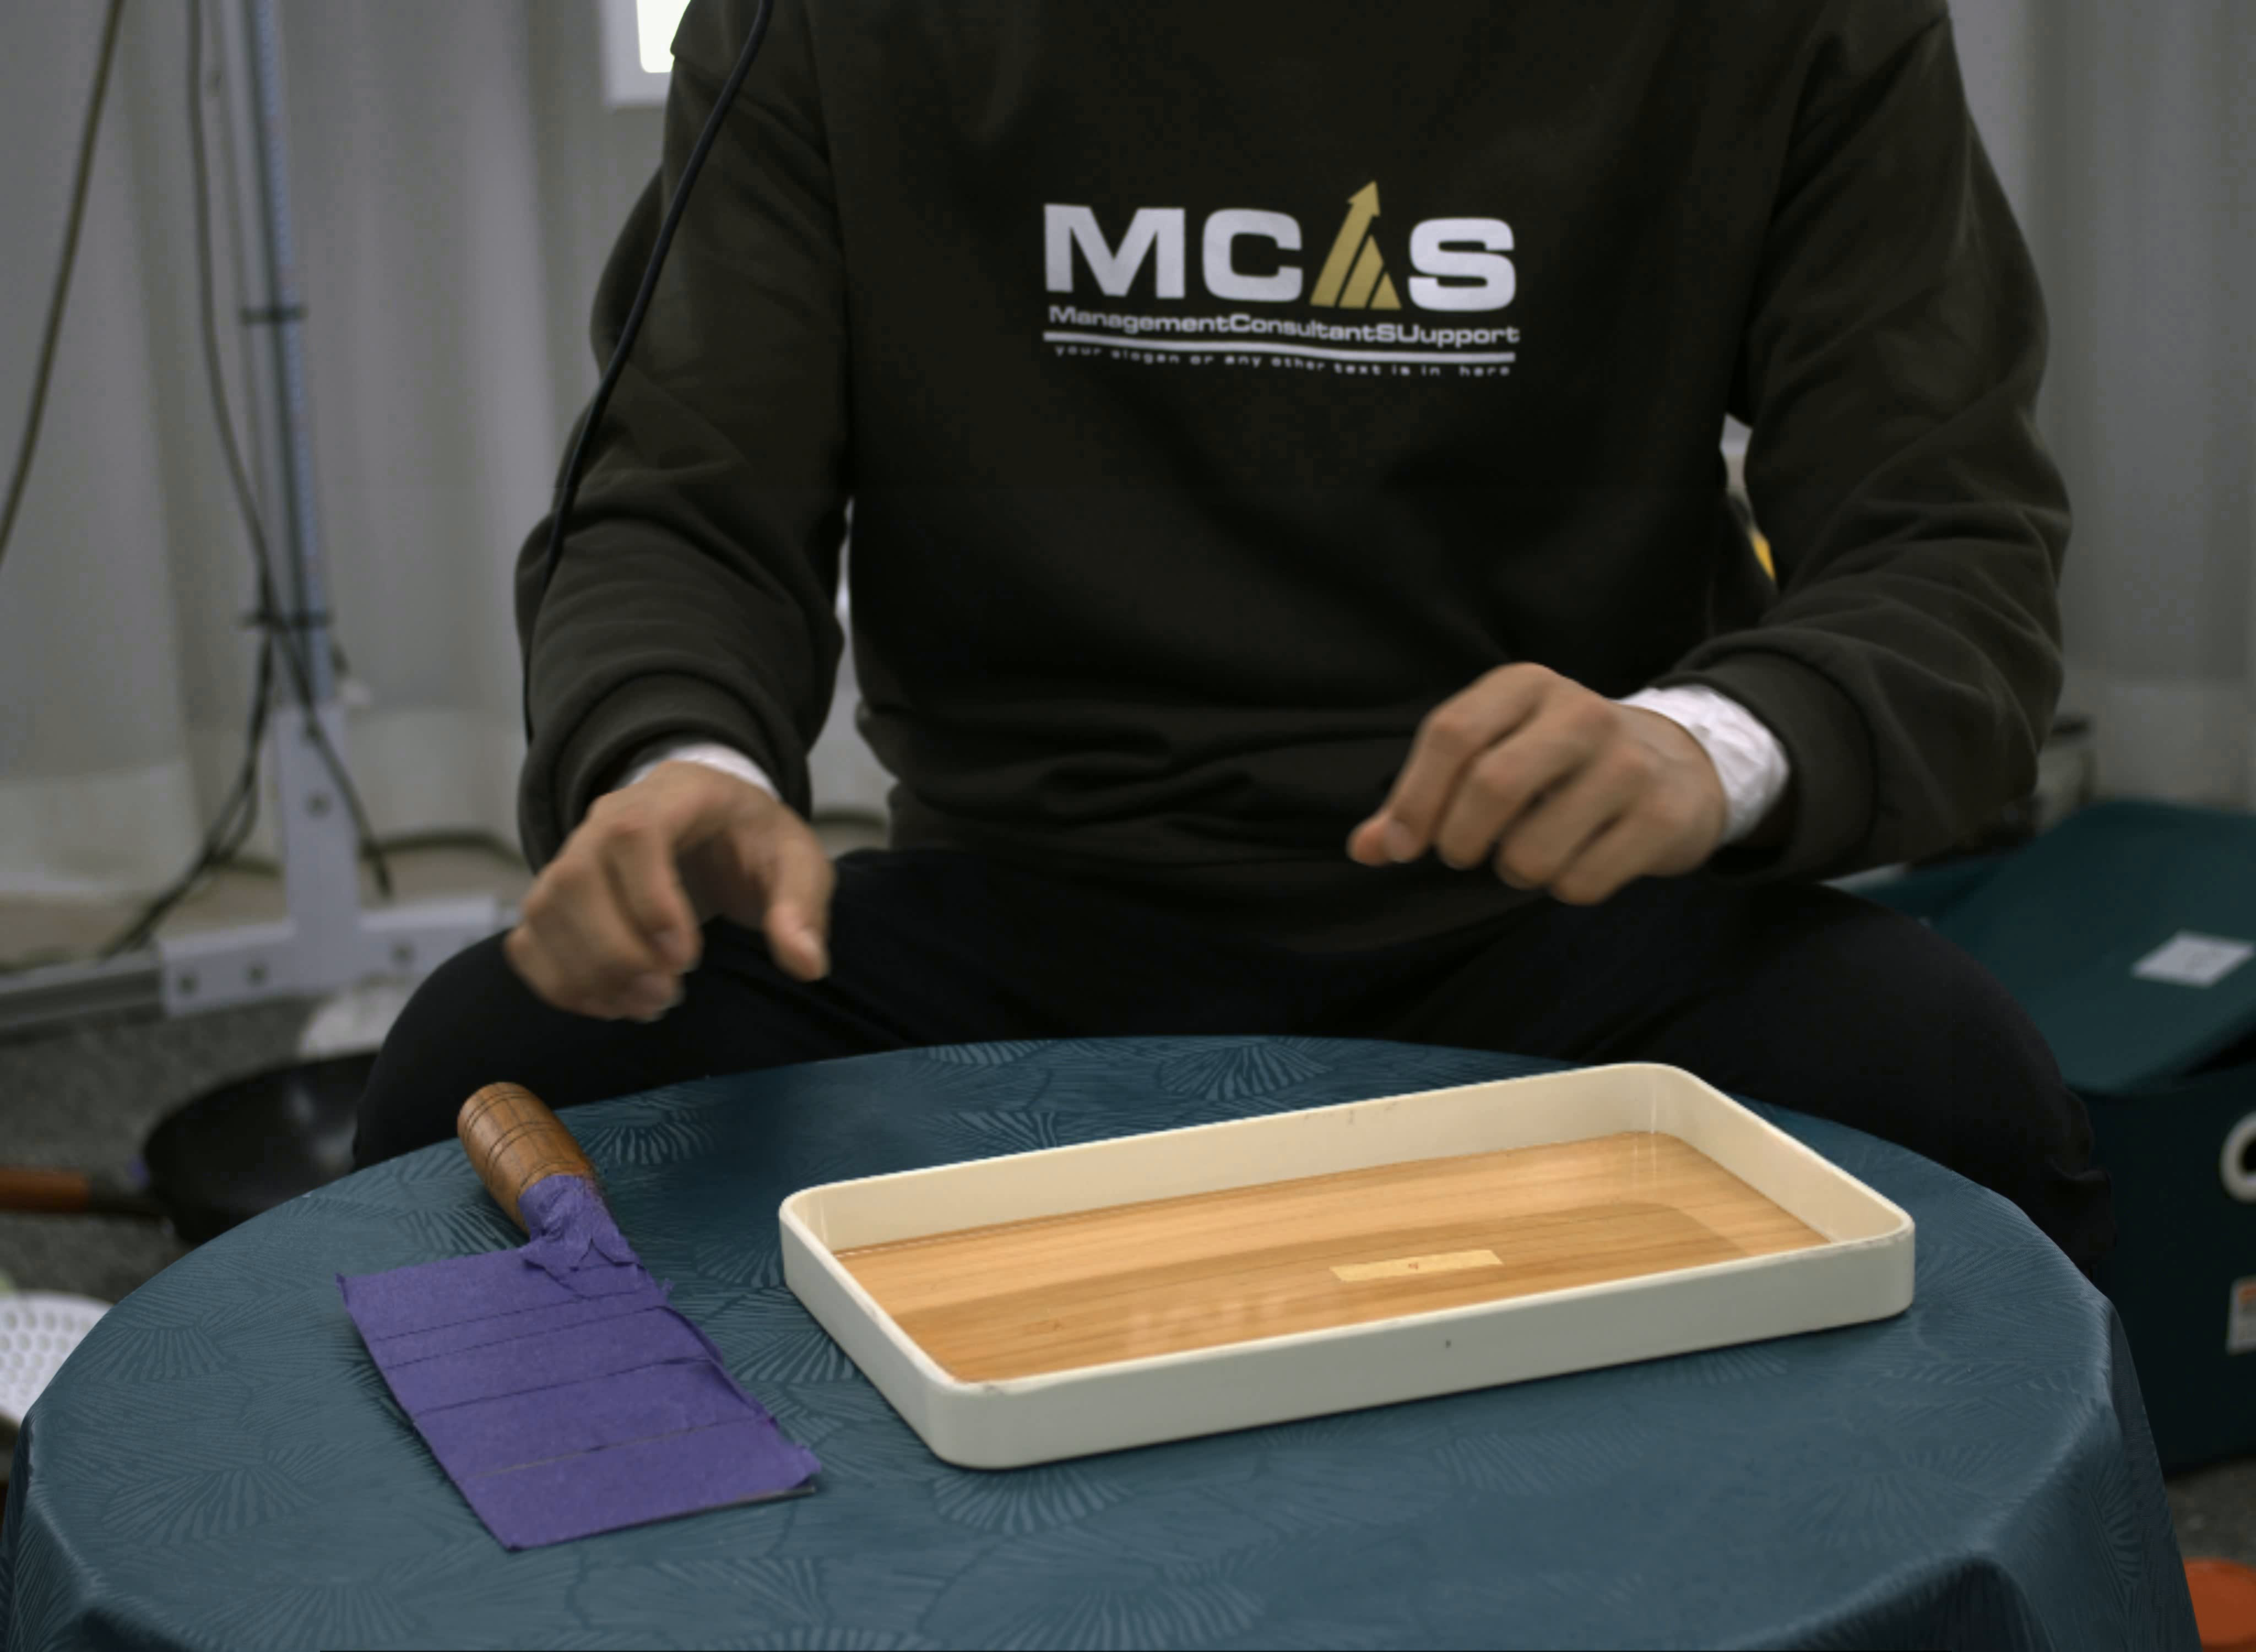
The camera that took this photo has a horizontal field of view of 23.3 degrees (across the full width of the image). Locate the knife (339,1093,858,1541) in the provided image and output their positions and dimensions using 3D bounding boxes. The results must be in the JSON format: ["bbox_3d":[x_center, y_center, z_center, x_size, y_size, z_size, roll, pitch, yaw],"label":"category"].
[{"bbox_3d":[-0.177,0.140,1.603,0.103,0.032,0.318,-8,16,-20],"label":"knife"}]

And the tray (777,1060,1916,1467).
[{"bbox_3d":[0.062,0.125,1.613,0.299,0.027,0.193,-8,15,-17],"label":"tray"}]
